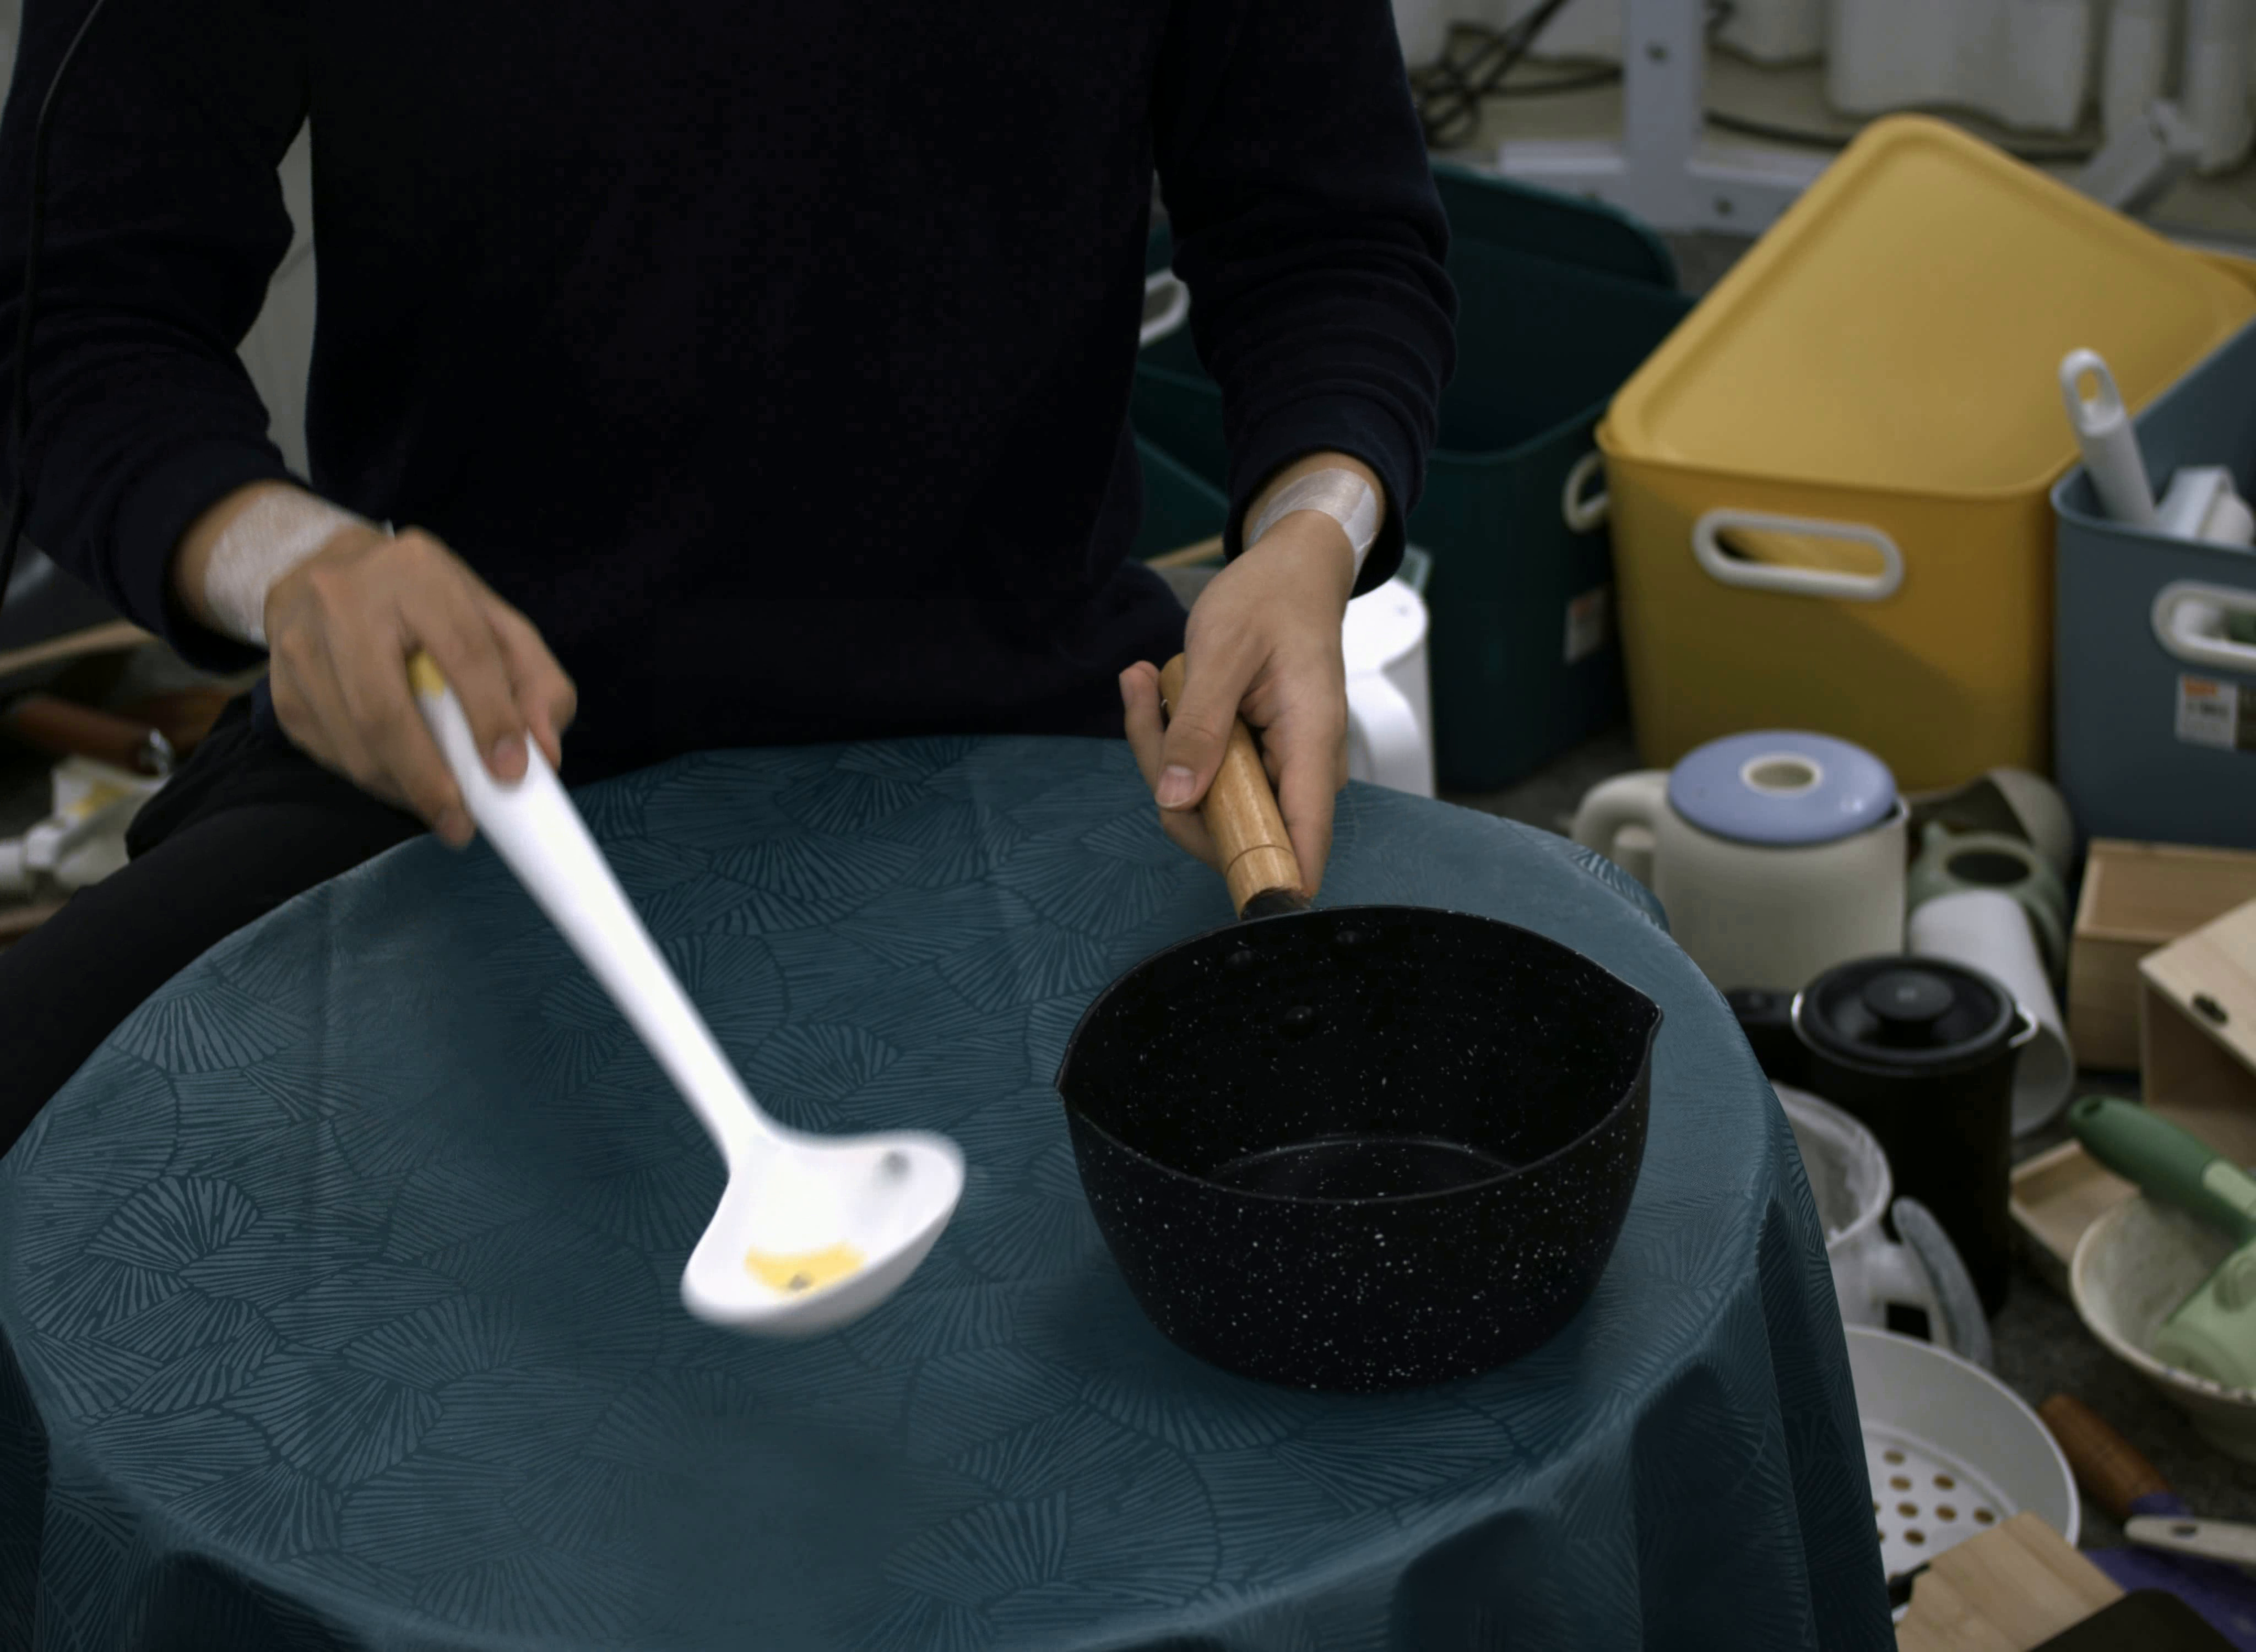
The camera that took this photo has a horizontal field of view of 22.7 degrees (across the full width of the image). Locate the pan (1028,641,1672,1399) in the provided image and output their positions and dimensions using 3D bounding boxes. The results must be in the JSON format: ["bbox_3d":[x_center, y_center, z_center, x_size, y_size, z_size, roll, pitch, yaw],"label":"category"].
[{"bbox_3d":[0.057,0.060,1.859,0.207,0.107,0.347,-9,29,-9],"label":"pan"}]

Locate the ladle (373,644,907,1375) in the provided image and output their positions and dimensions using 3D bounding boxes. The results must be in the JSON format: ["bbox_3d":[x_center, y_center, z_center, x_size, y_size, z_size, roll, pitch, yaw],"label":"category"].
[{"bbox_3d":[-0.160,0.050,1.729,0.090,0.069,0.296,-33,62,-3],"label":"ladle"}]
